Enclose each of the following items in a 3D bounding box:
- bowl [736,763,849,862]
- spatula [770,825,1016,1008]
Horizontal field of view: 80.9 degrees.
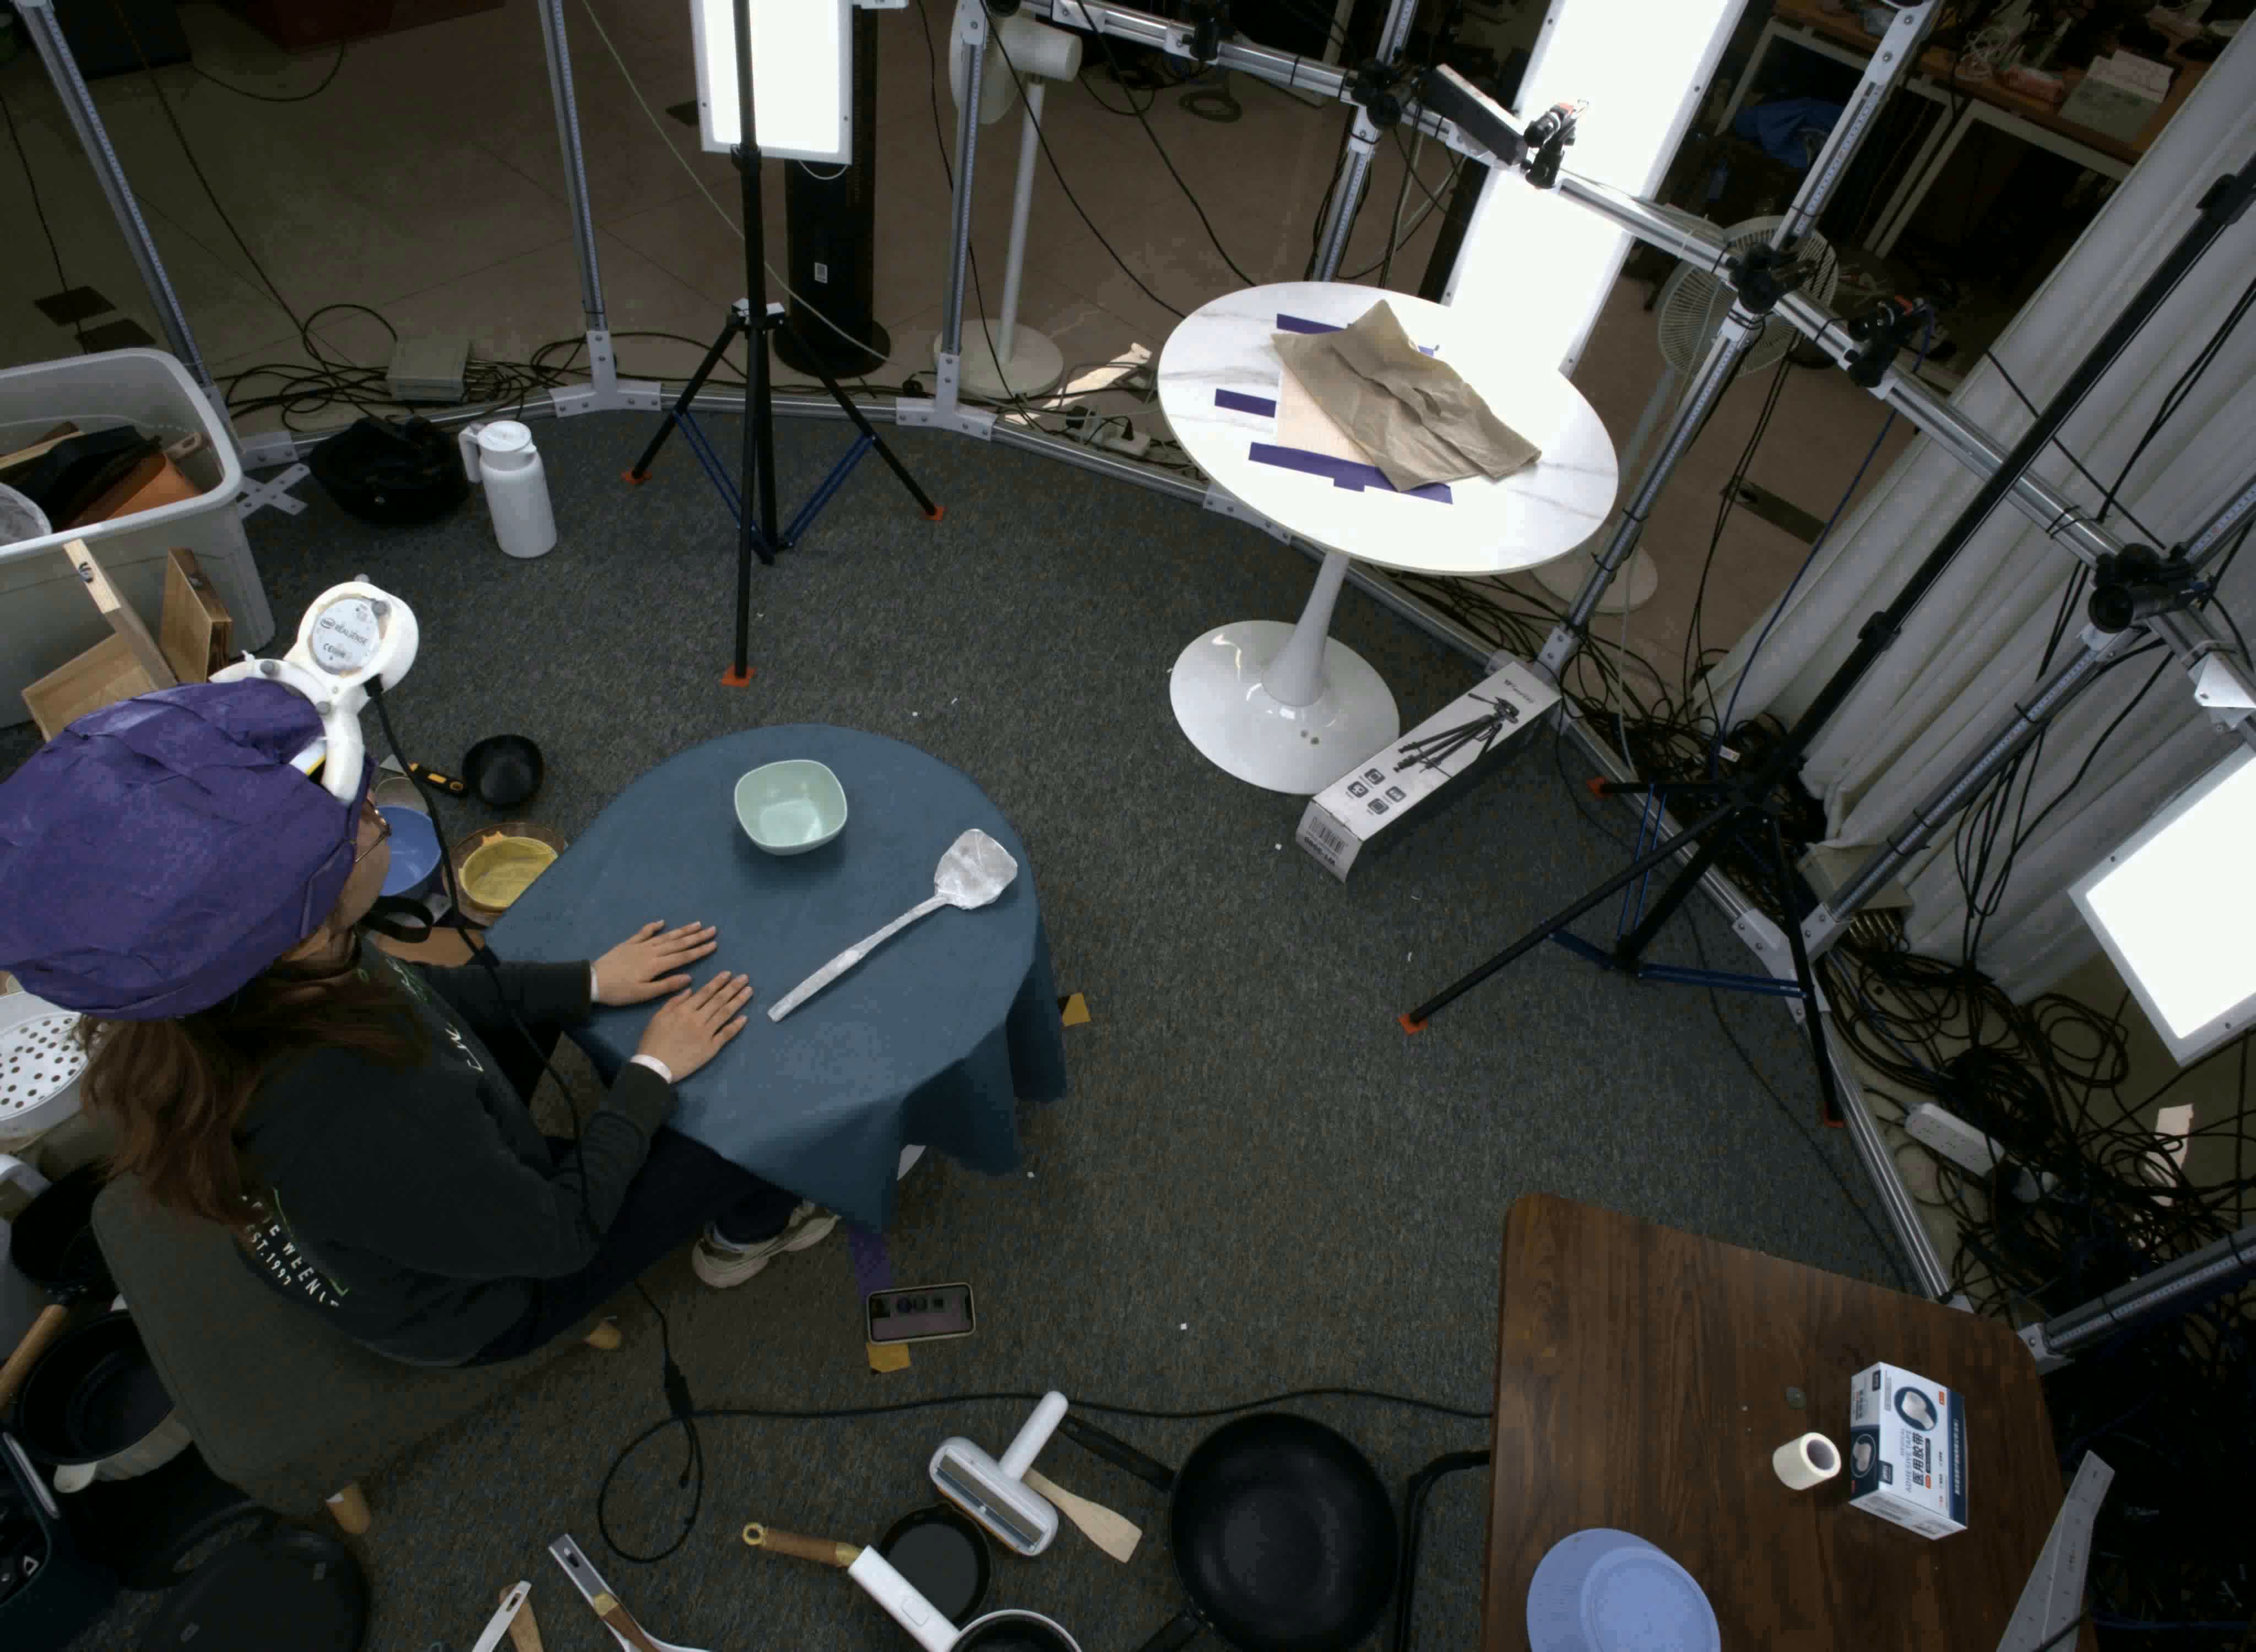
[{"bbox_3d":[-0.438,-0.009,1.704,0.150,0.060,0.149,5,54,-5],"label":"bowl"},{"bbox_3d":[-0.298,0.121,1.647,0.097,0.045,0.366,44,56,17],"label":"spatula"}]
